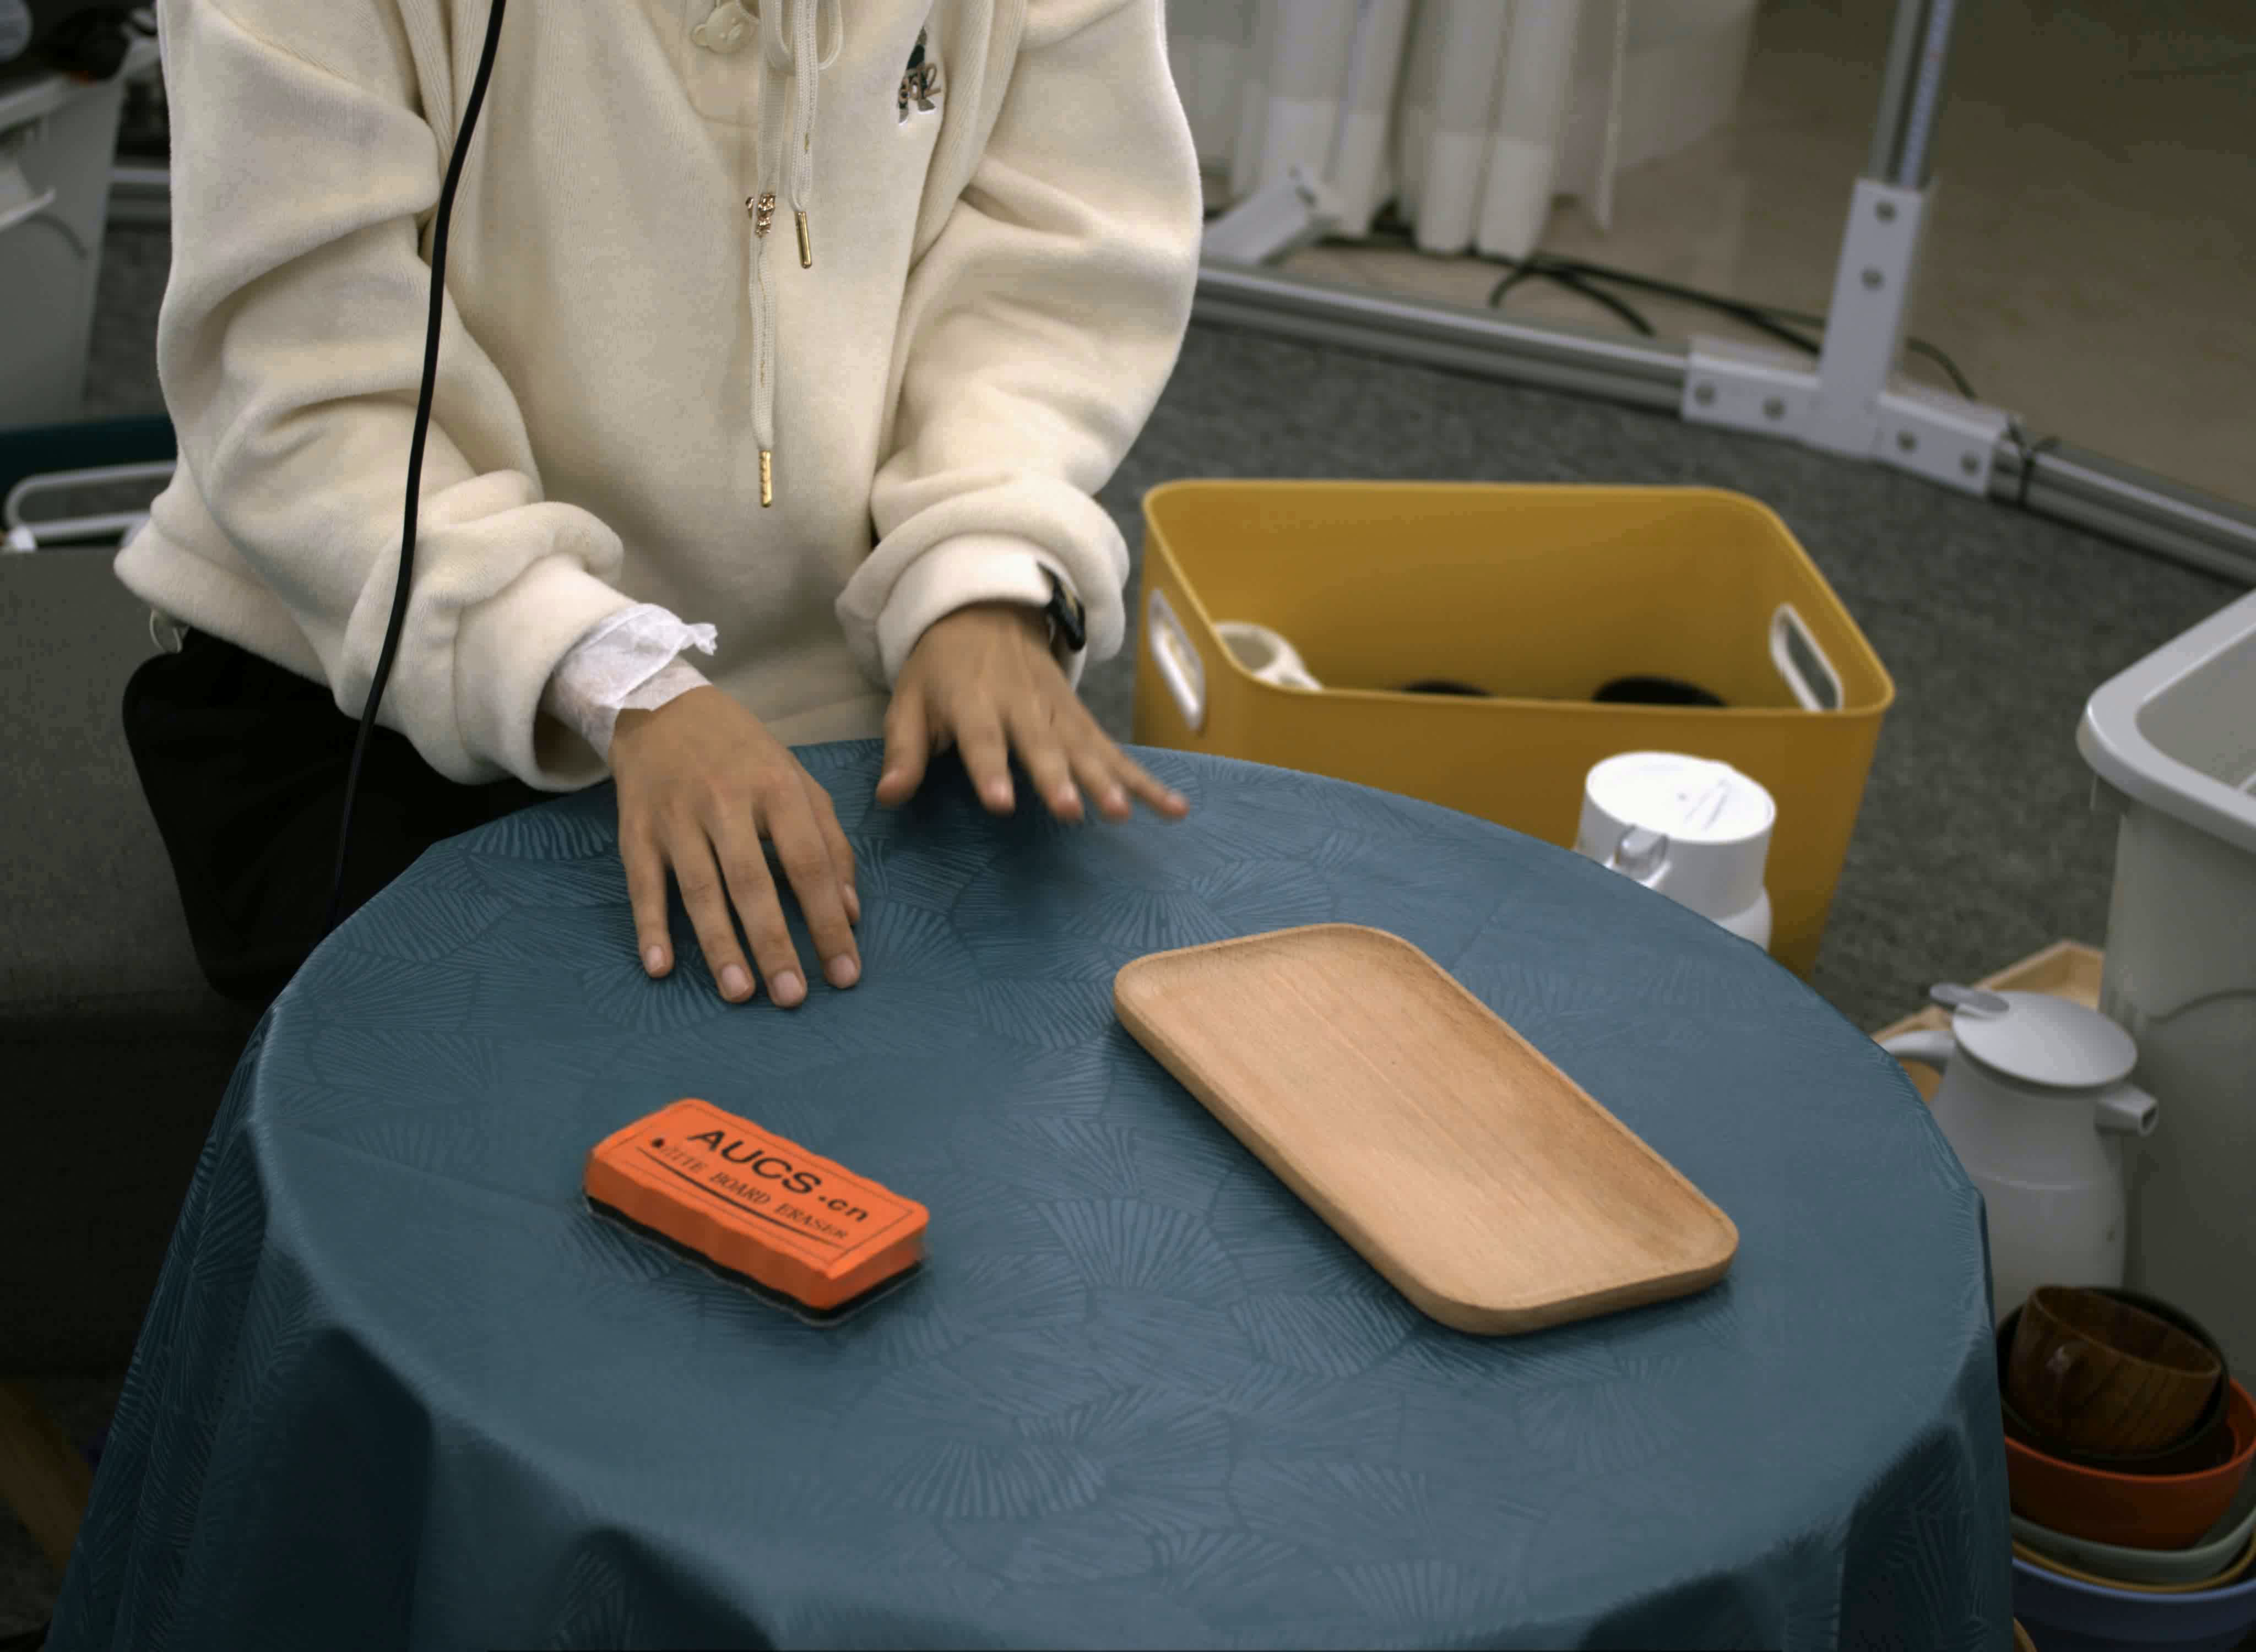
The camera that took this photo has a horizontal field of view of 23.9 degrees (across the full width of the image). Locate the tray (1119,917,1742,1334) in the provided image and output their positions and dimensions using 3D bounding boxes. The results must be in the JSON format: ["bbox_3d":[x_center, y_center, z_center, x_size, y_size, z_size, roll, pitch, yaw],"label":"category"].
[{"bbox_3d":[0.101,0.101,1.848,0.129,0.023,0.253,-6,29,-29],"label":"tray"}]

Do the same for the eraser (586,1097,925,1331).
[{"bbox_3d":[-0.123,0.126,1.744,0.108,0.023,0.059,24,33,30],"label":"eraser"}]
